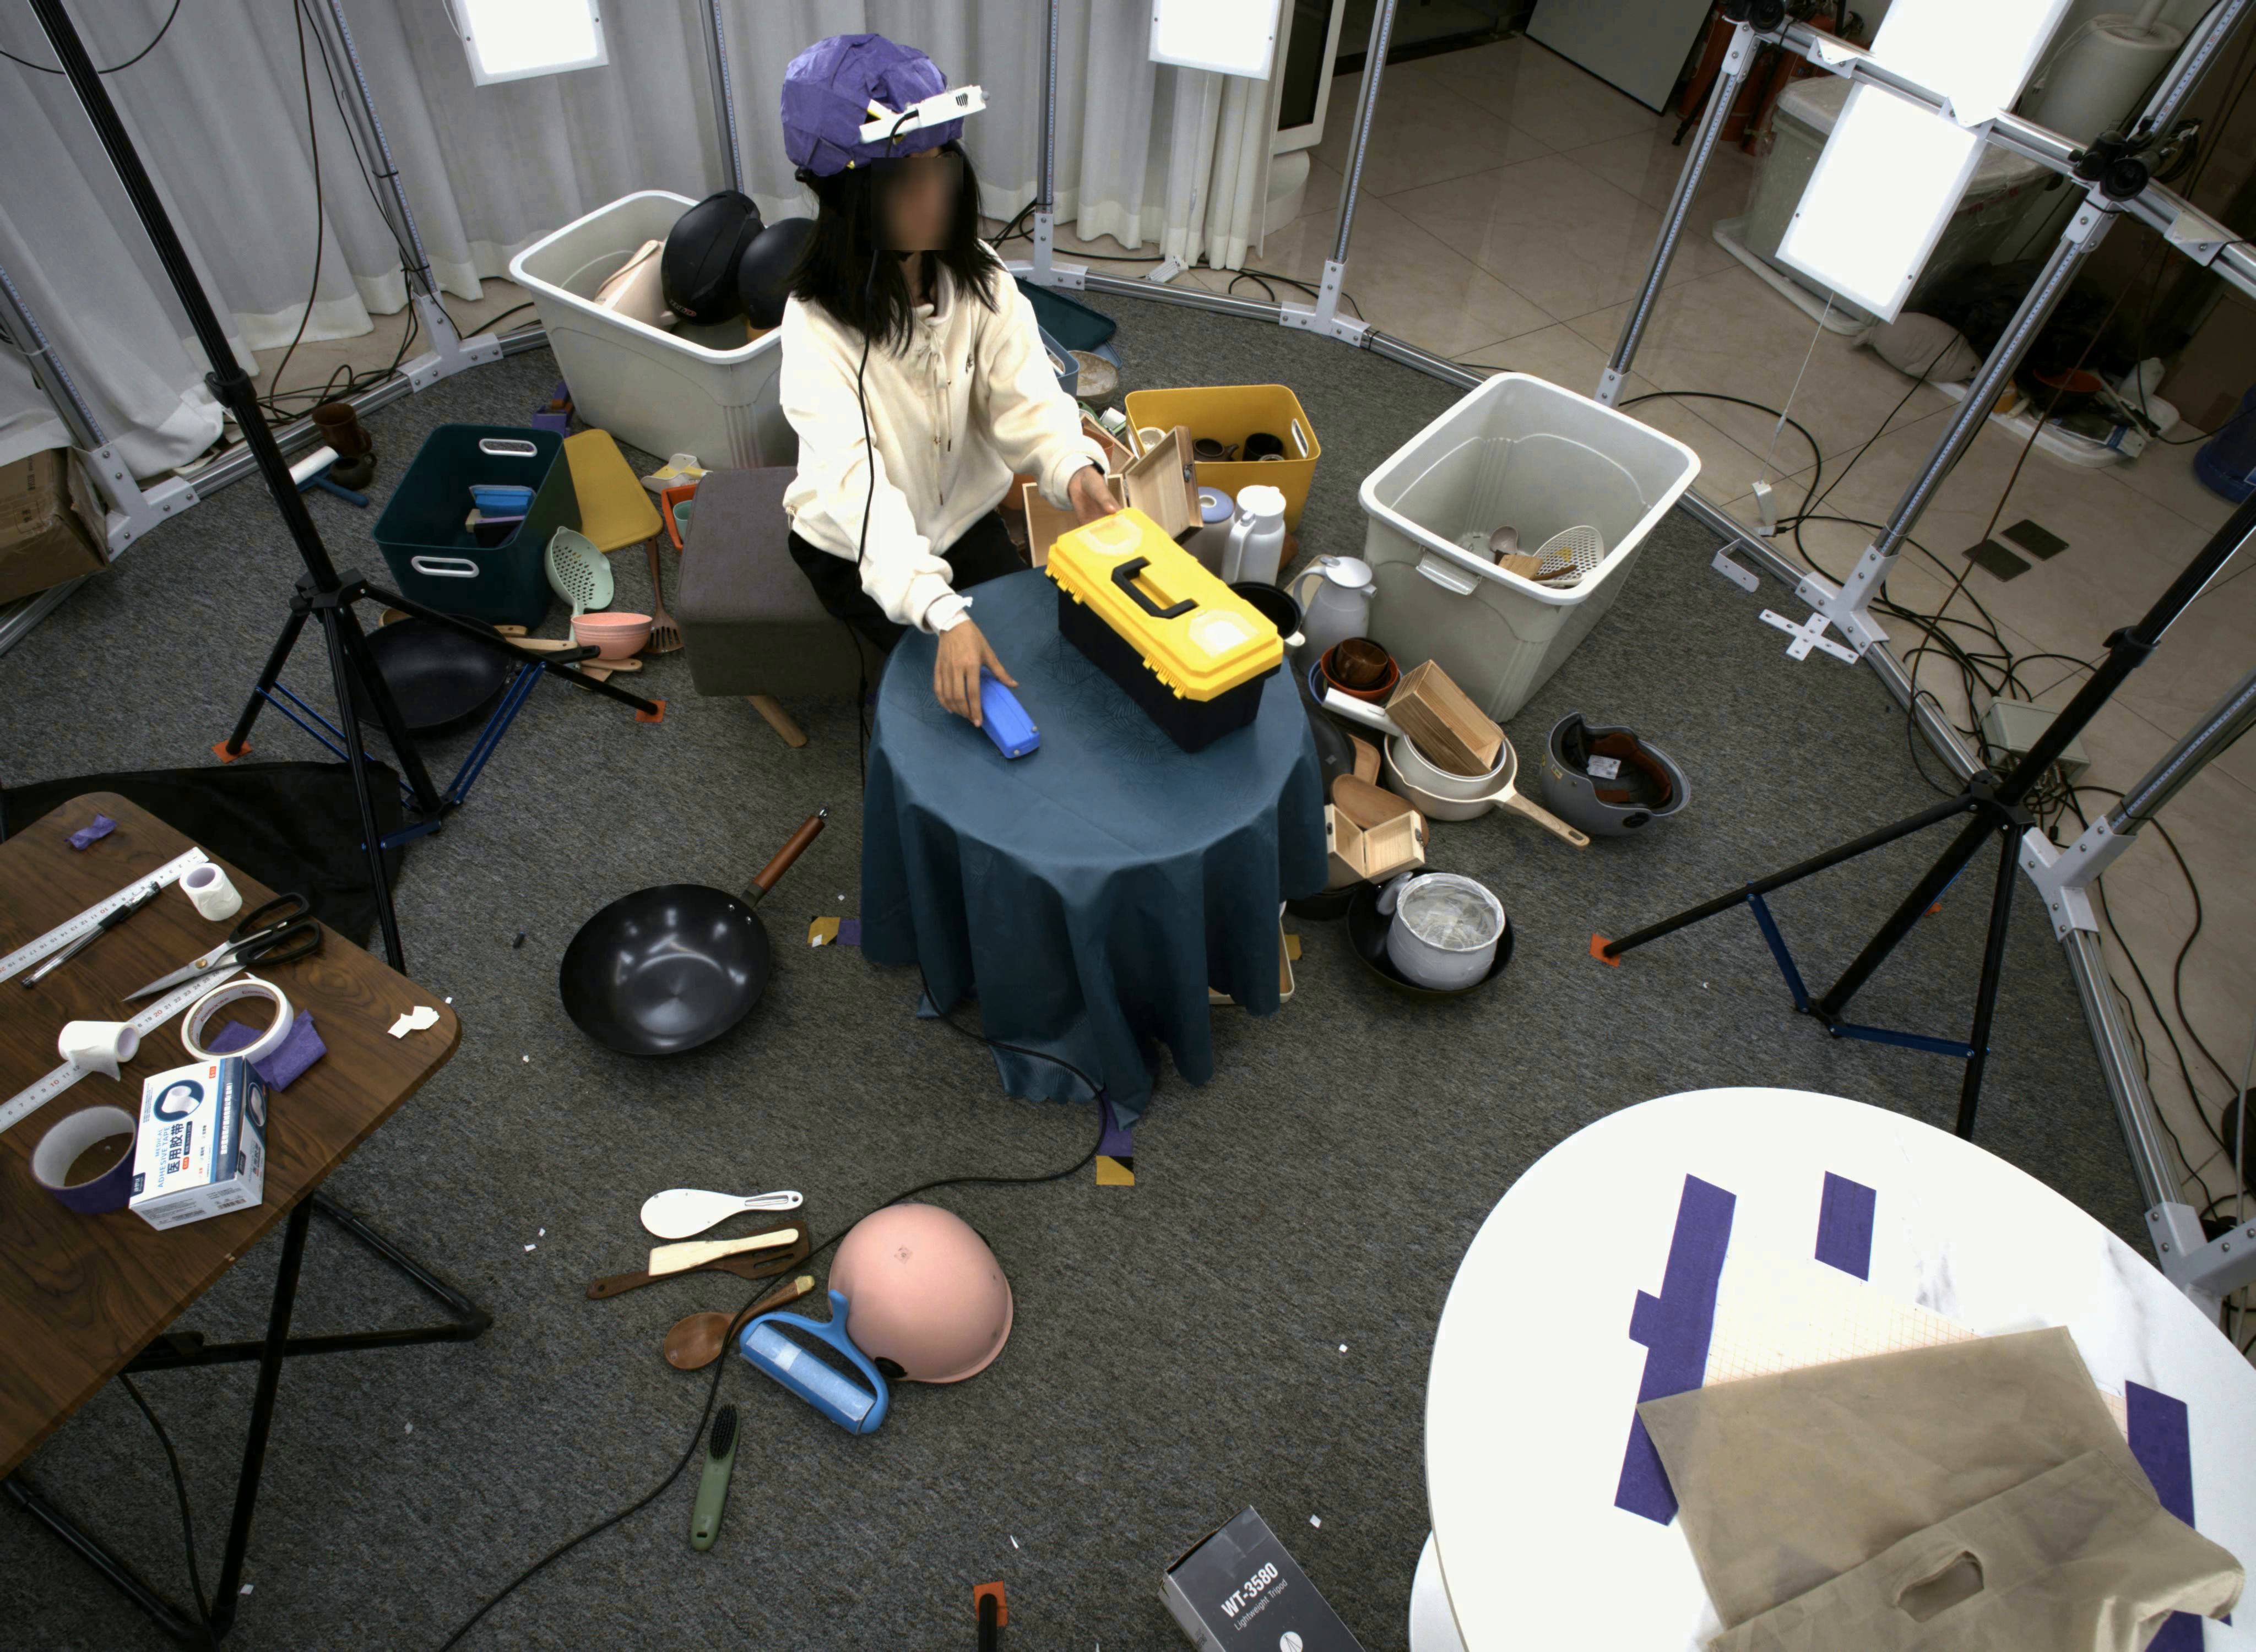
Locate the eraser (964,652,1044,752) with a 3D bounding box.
[{"bbox_3d":[-0.173,-0.176,1.771,0.054,0.046,0.165,-24,57,-13],"label":"eraser"}]

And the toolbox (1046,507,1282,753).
[{"bbox_3d":[0.045,-0.277,1.802,0.182,0.168,0.358,-28,57,-24],"label":"toolbox"}]
